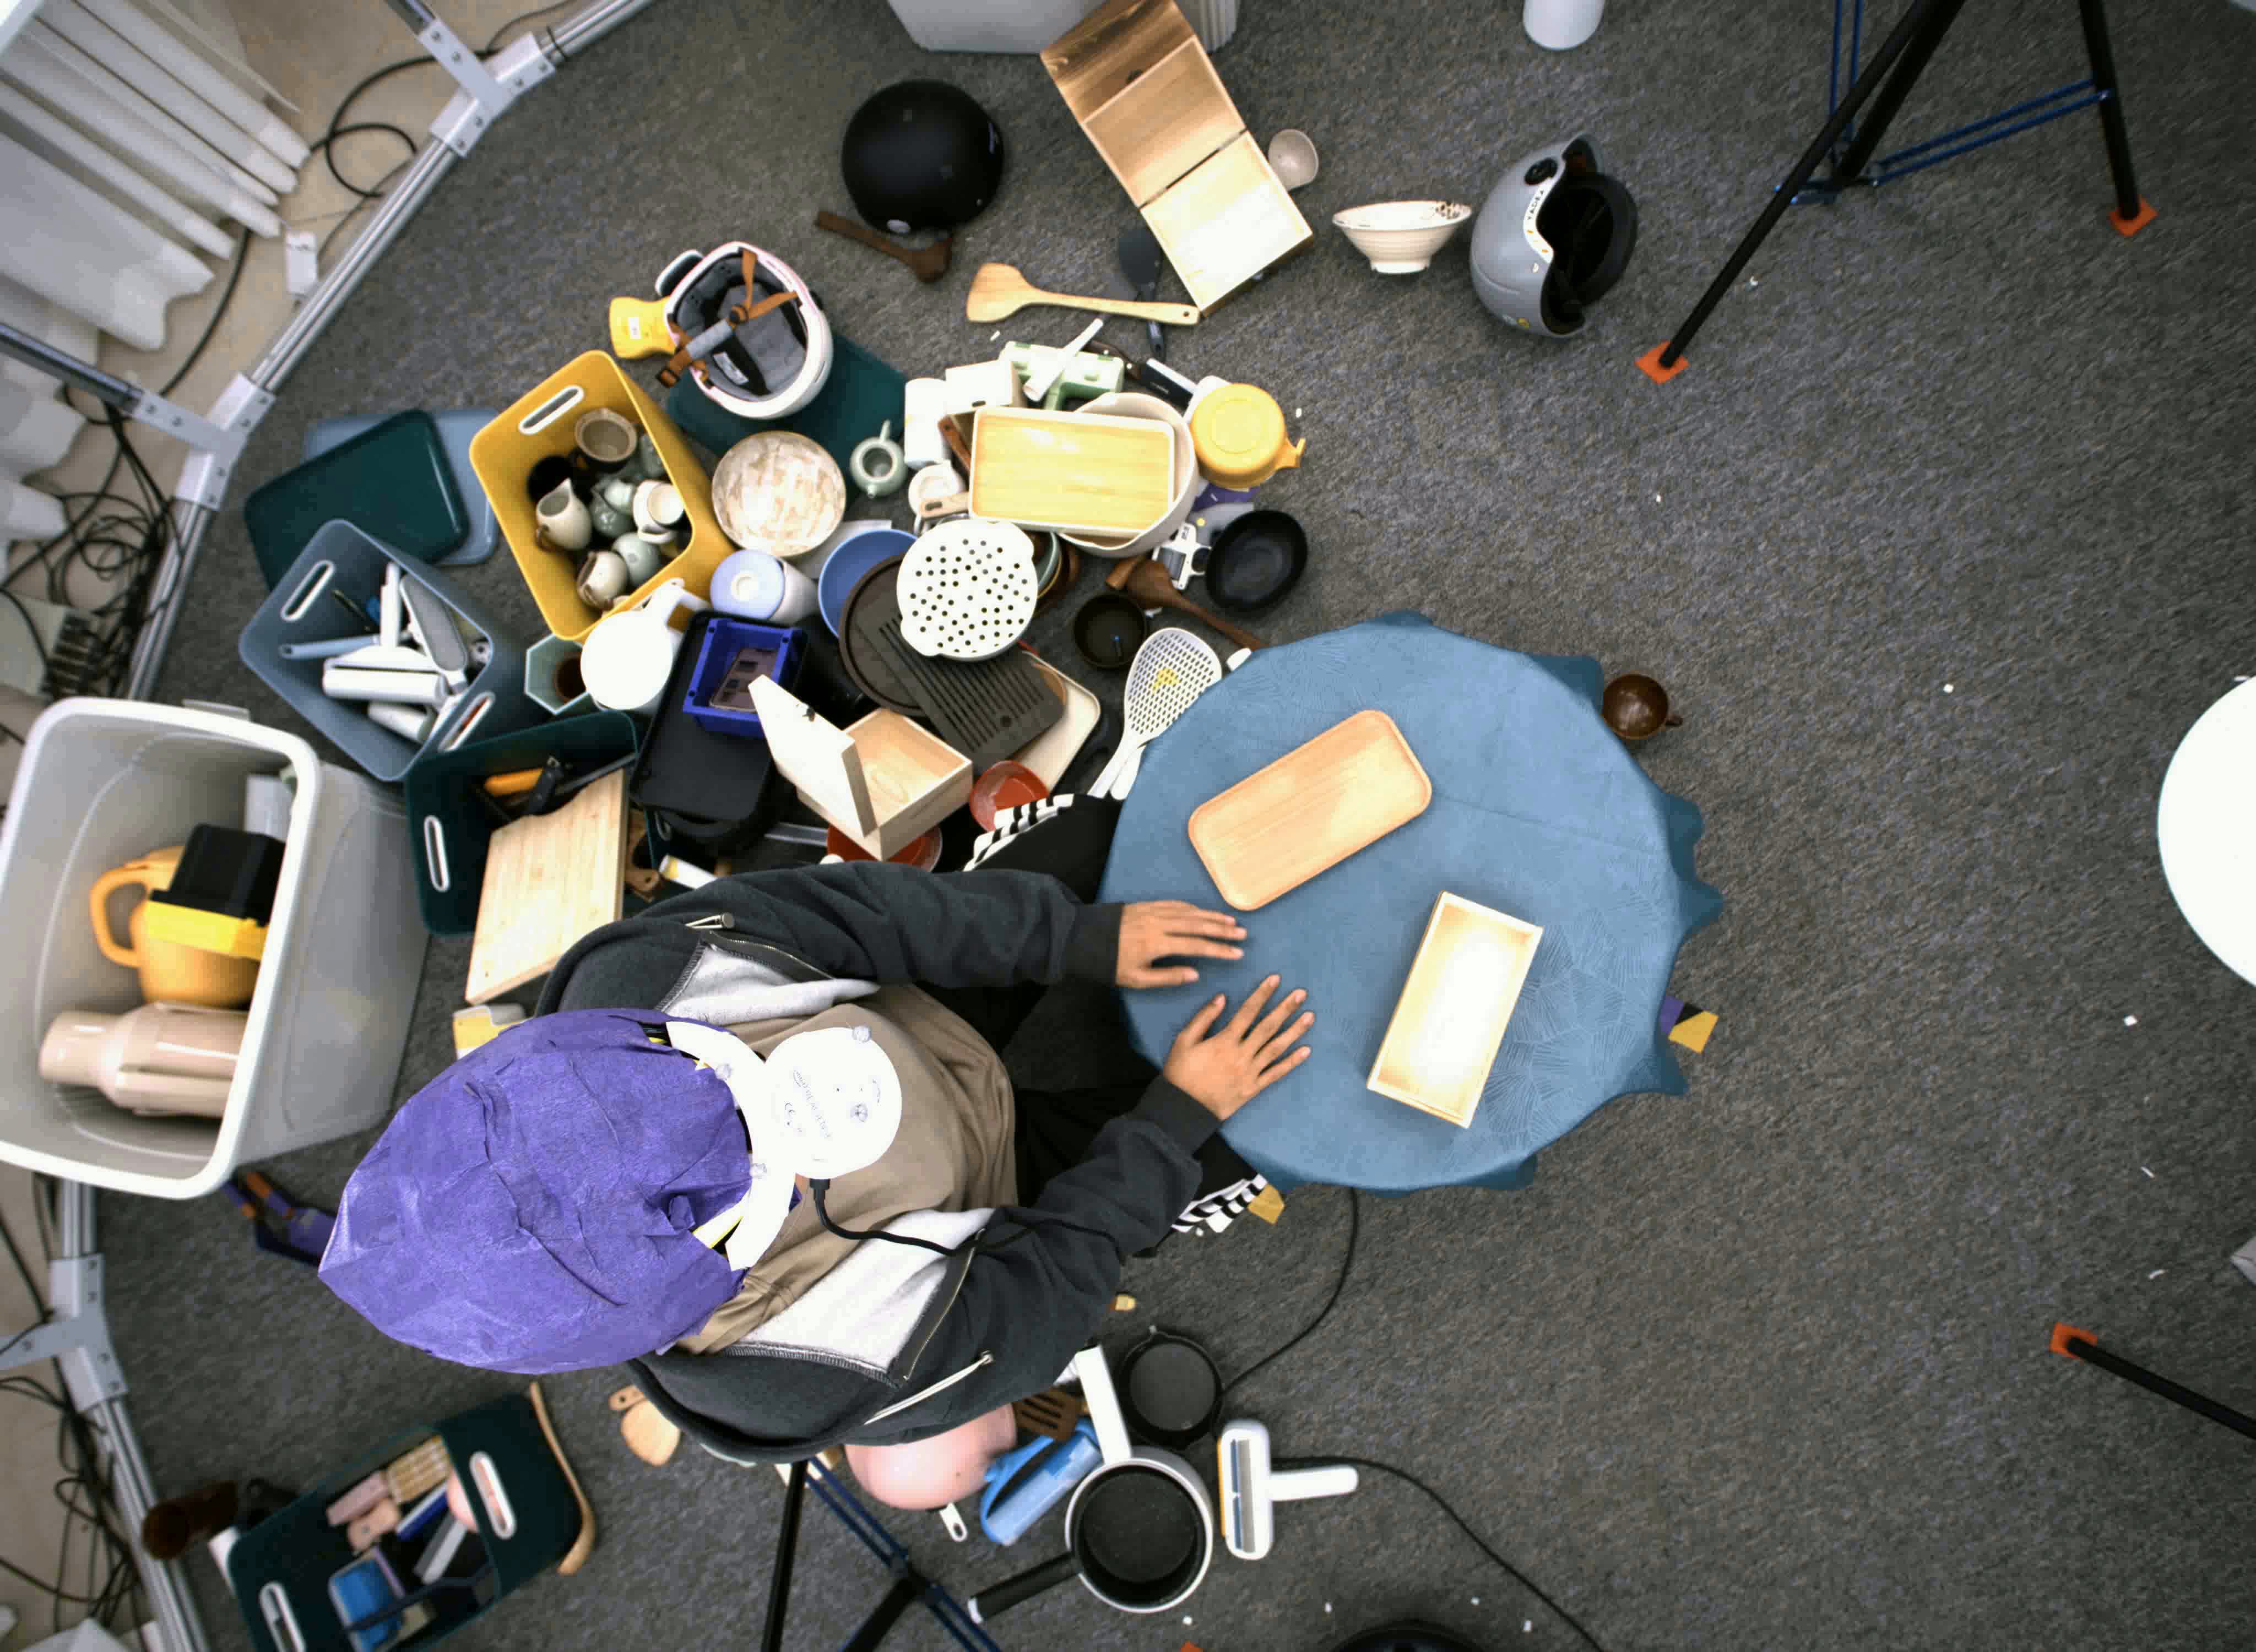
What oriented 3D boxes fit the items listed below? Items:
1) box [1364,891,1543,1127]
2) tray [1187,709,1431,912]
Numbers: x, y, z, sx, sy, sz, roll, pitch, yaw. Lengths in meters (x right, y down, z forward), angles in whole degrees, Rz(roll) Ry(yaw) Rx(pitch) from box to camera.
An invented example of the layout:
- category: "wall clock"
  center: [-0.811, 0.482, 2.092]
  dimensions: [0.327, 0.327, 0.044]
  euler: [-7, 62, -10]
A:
- category: "box"
  center: [0.328, 0.183, 1.402]
  dimensions: [0.107, 0.080, 0.211]
  euler: [21, 91, 11]
- category: "tray"
  center: [0.192, -0.017, 1.470]
  dimensions: [0.252, 0.023, 0.129]
  euler: [-30, 79, 8]
